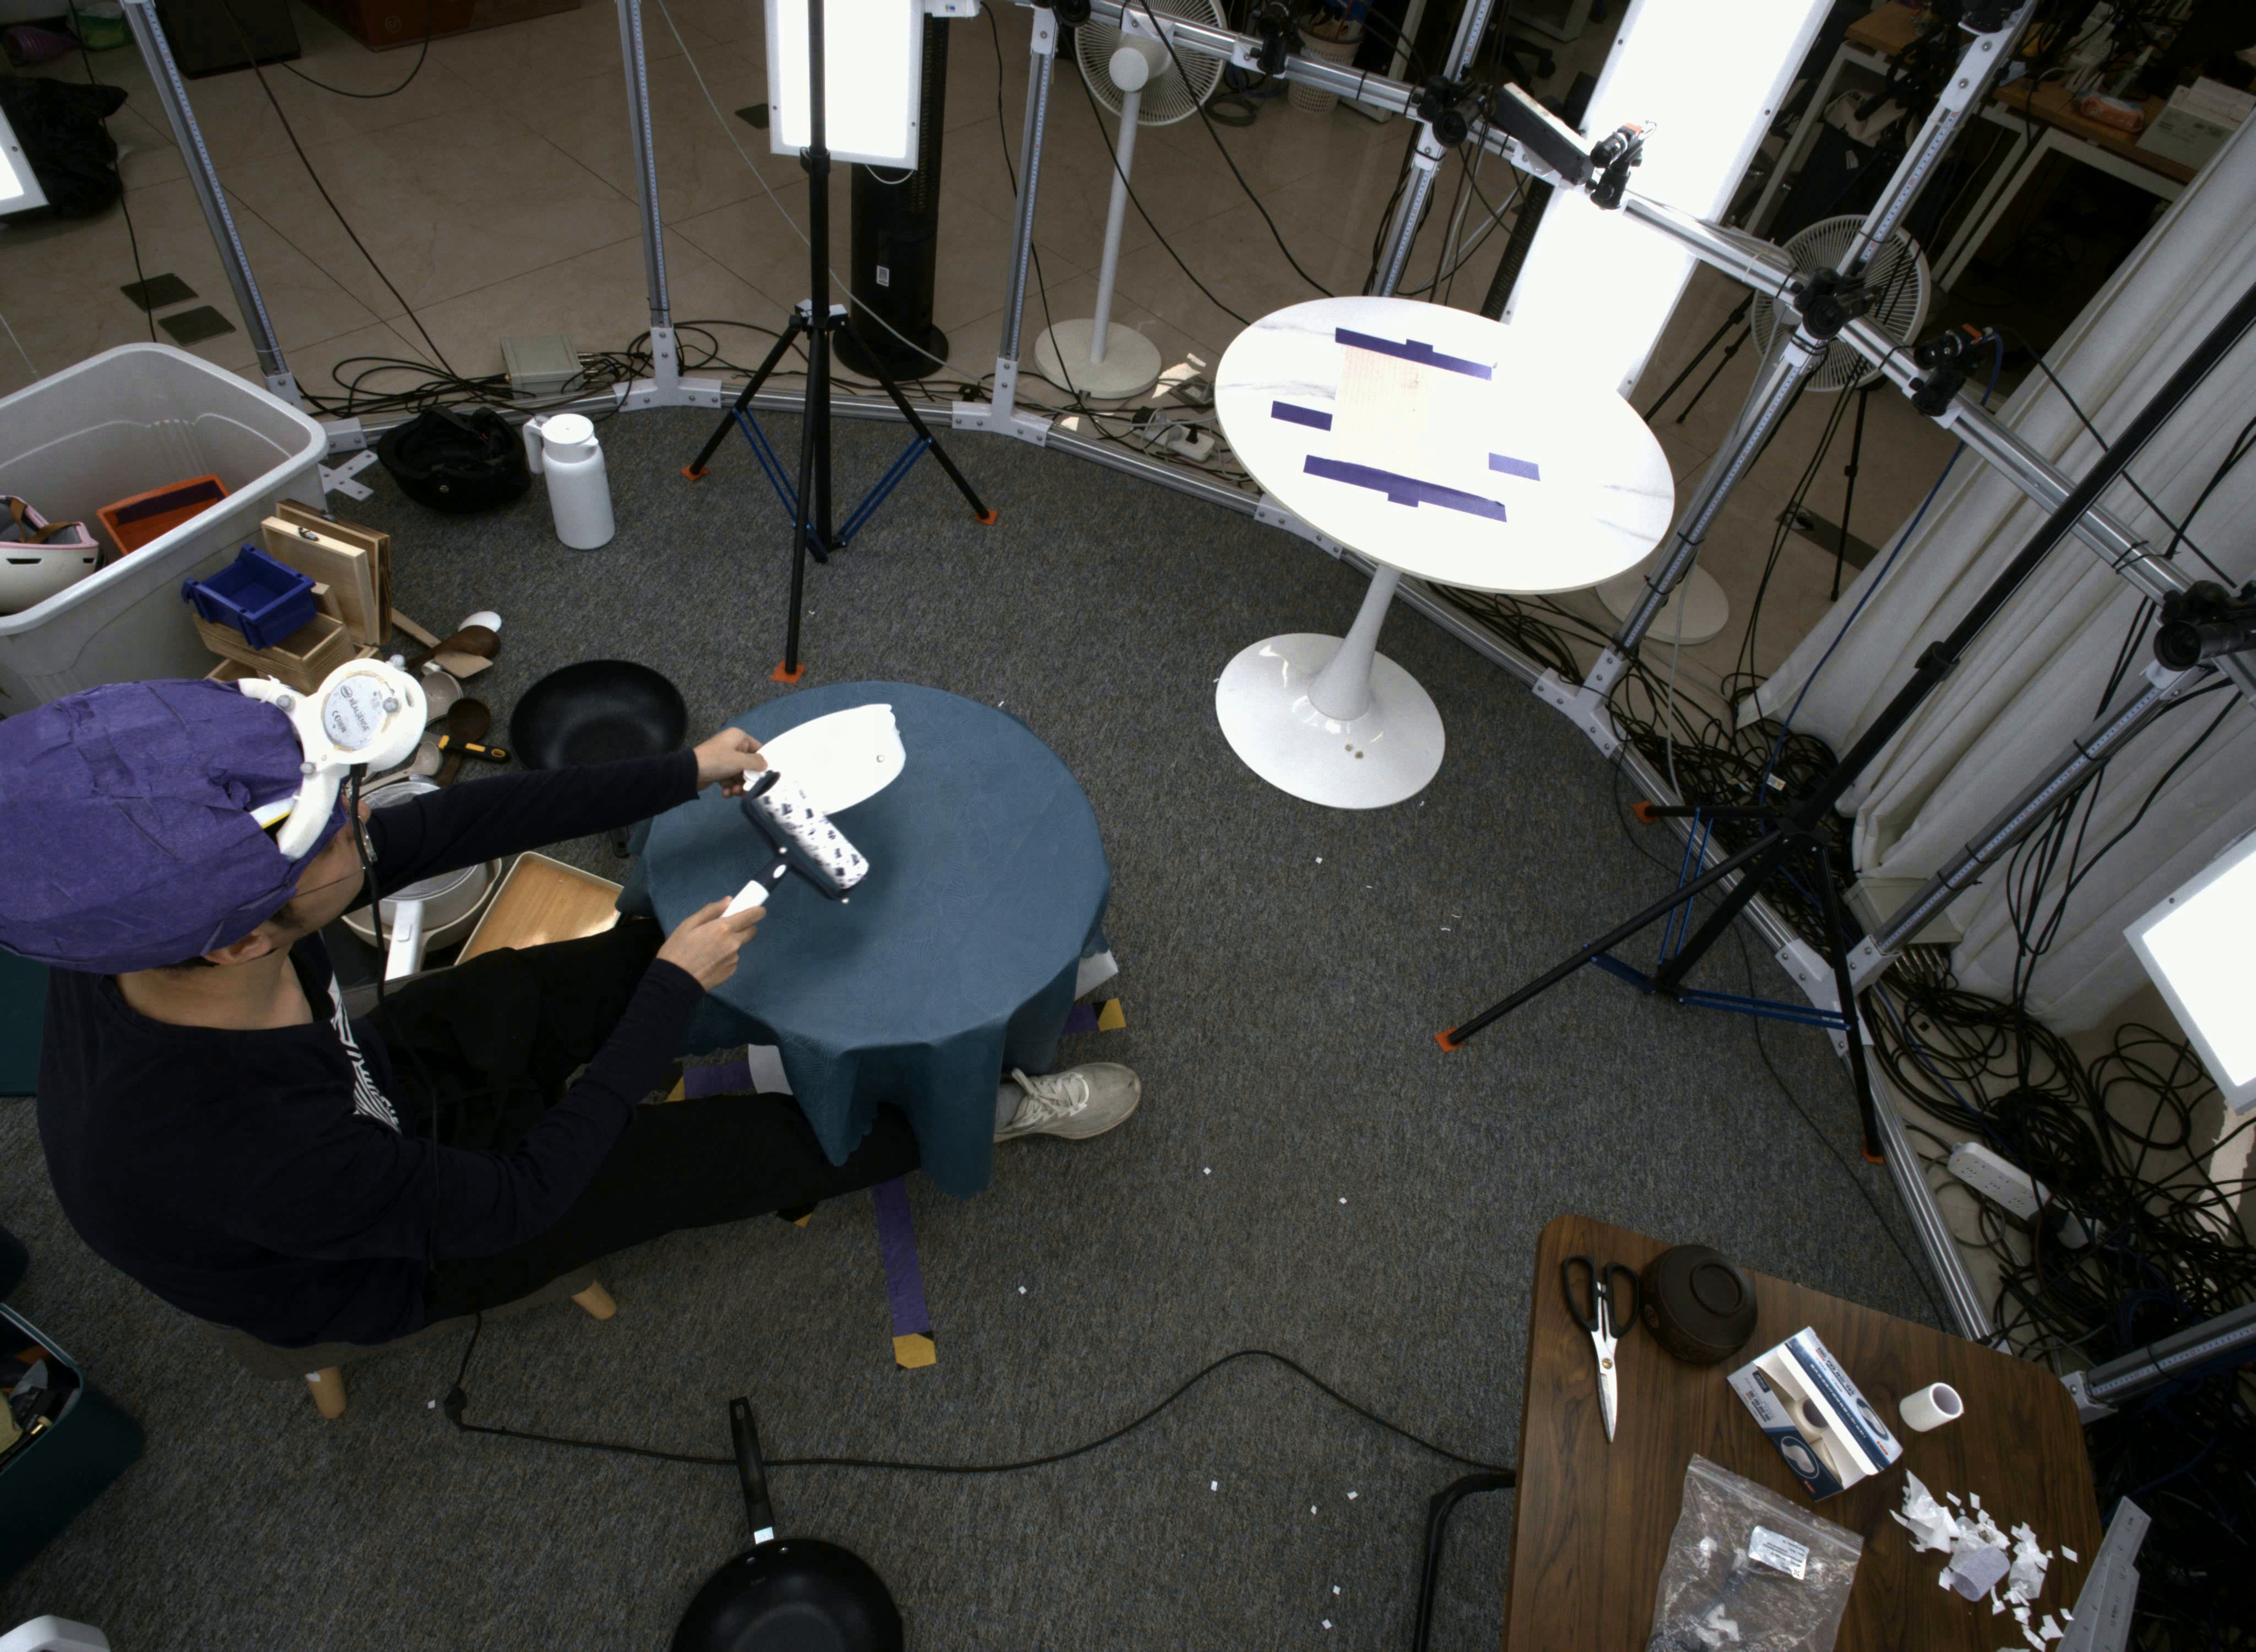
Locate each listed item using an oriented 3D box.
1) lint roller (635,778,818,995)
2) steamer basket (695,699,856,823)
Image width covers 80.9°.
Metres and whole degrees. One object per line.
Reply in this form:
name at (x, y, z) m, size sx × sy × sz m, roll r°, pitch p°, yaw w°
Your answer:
lint roller at (-0.487, 0.091, 1.497) m, size 0.048 × 0.183 × 0.246 m, roll 4°, pitch 54°, yaw 46°
steamer basket at (-0.439, -0.076, 1.627) m, size 0.195 × 0.072 × 0.230 m, roll 1°, pitch 35°, yaw 36°
